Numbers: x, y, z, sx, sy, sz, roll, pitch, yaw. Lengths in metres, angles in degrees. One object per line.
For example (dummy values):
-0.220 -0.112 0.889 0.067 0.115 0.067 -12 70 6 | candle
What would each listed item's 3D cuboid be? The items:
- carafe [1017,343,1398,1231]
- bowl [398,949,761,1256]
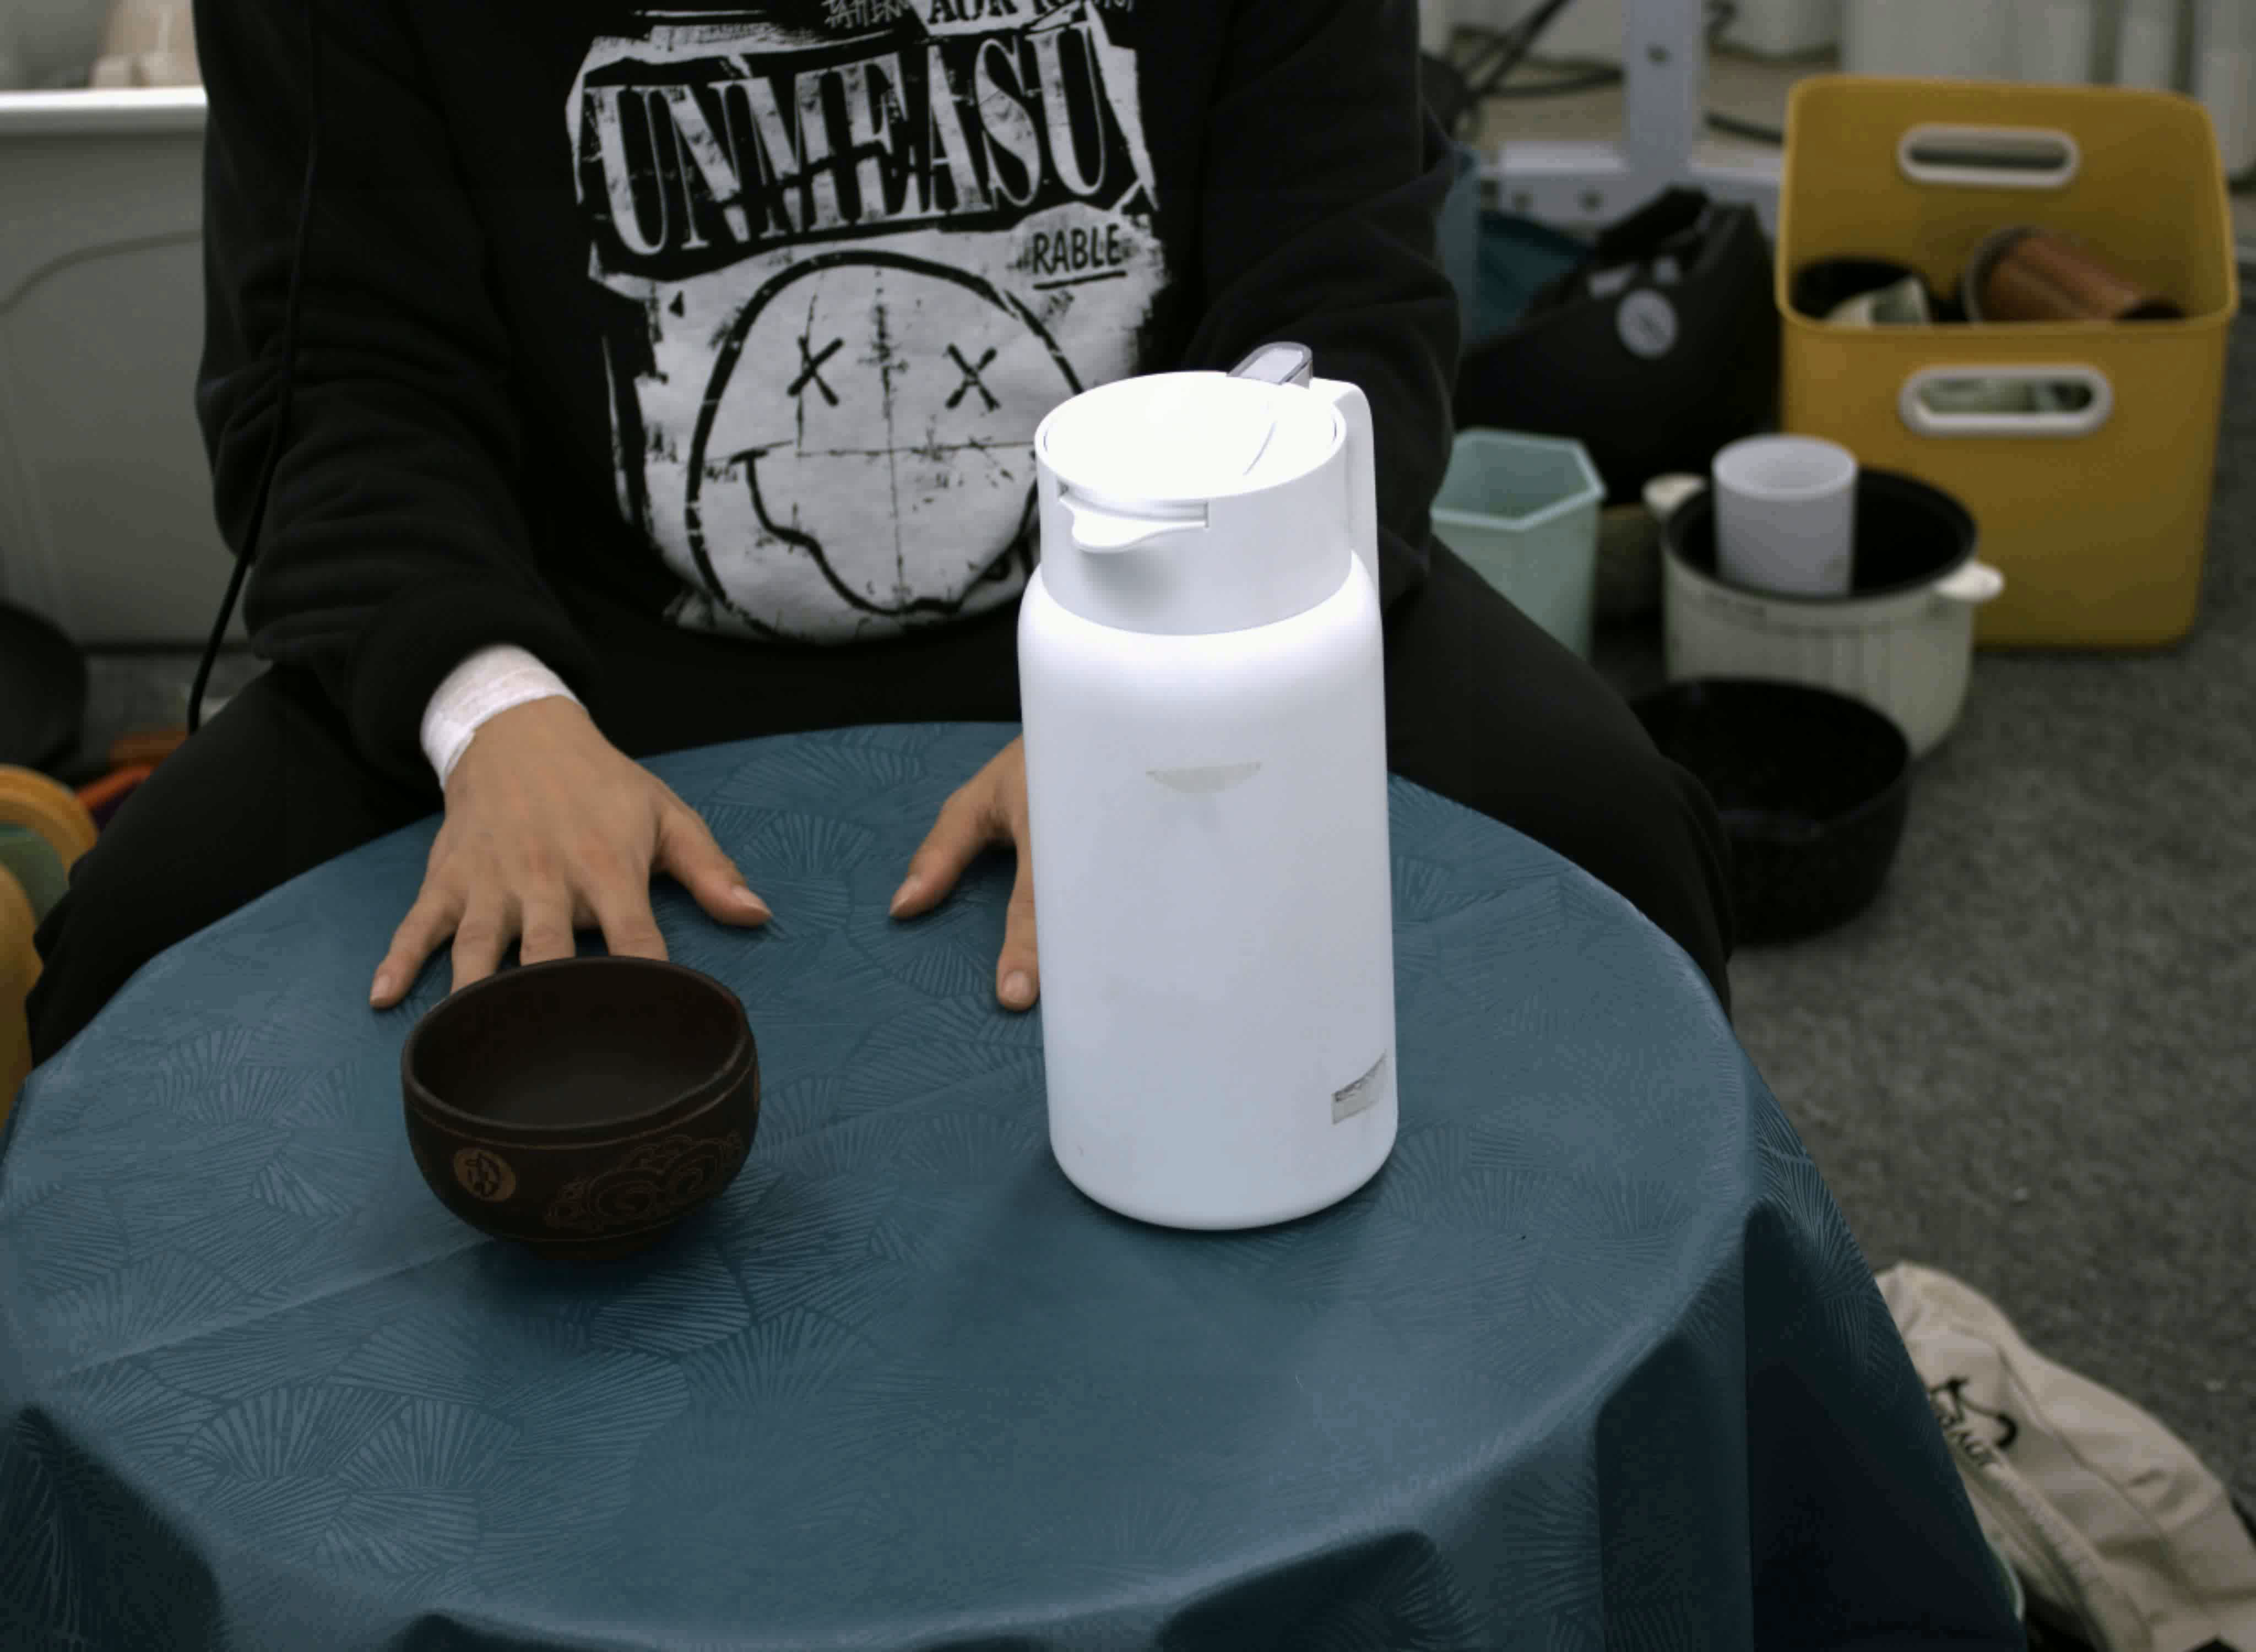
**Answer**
0.032 -0.017 1.837 0.123 0.266 0.176 7 28 25 | carafe
-0.178 0.098 1.843 0.117 0.069 0.120 -2 26 2 | bowl
